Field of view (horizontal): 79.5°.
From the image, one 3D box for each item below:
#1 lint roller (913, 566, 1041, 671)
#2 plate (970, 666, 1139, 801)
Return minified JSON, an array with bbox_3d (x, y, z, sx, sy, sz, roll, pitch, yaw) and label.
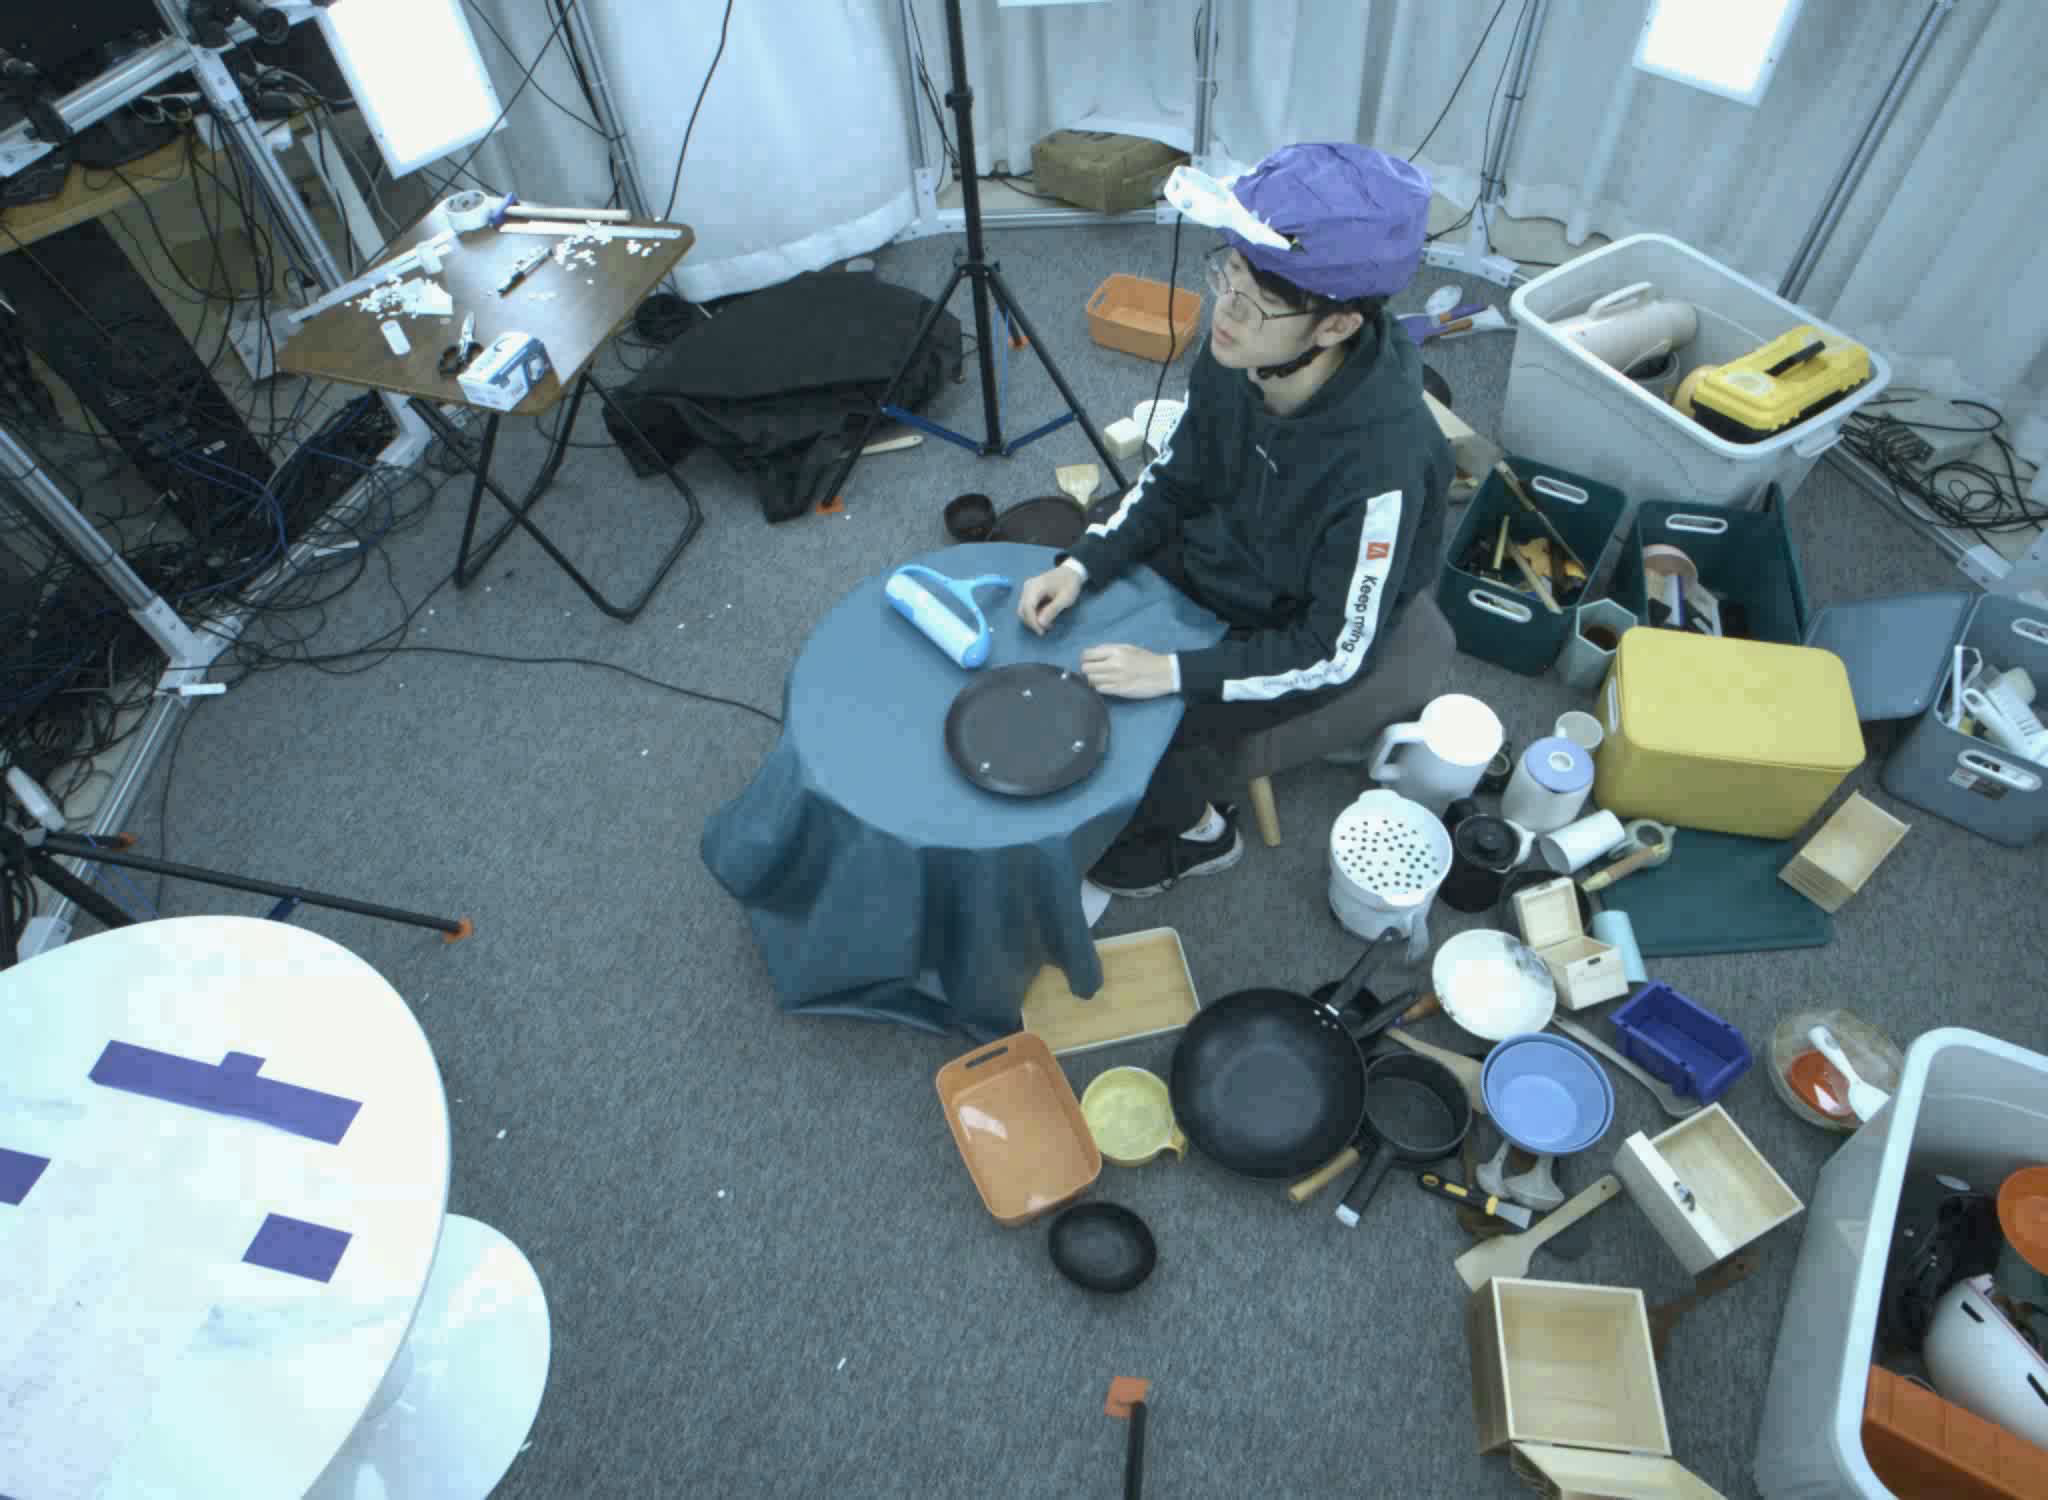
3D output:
[{"bbox_3d":[-0.049,-0.232,1.915,0.181,0.068,0.224,-37,61,-23],"label":"lint roller"},{"bbox_3d":[0.045,-0.022,1.783,0.244,0.023,0.242,0,54,1],"label":"plate"}]
